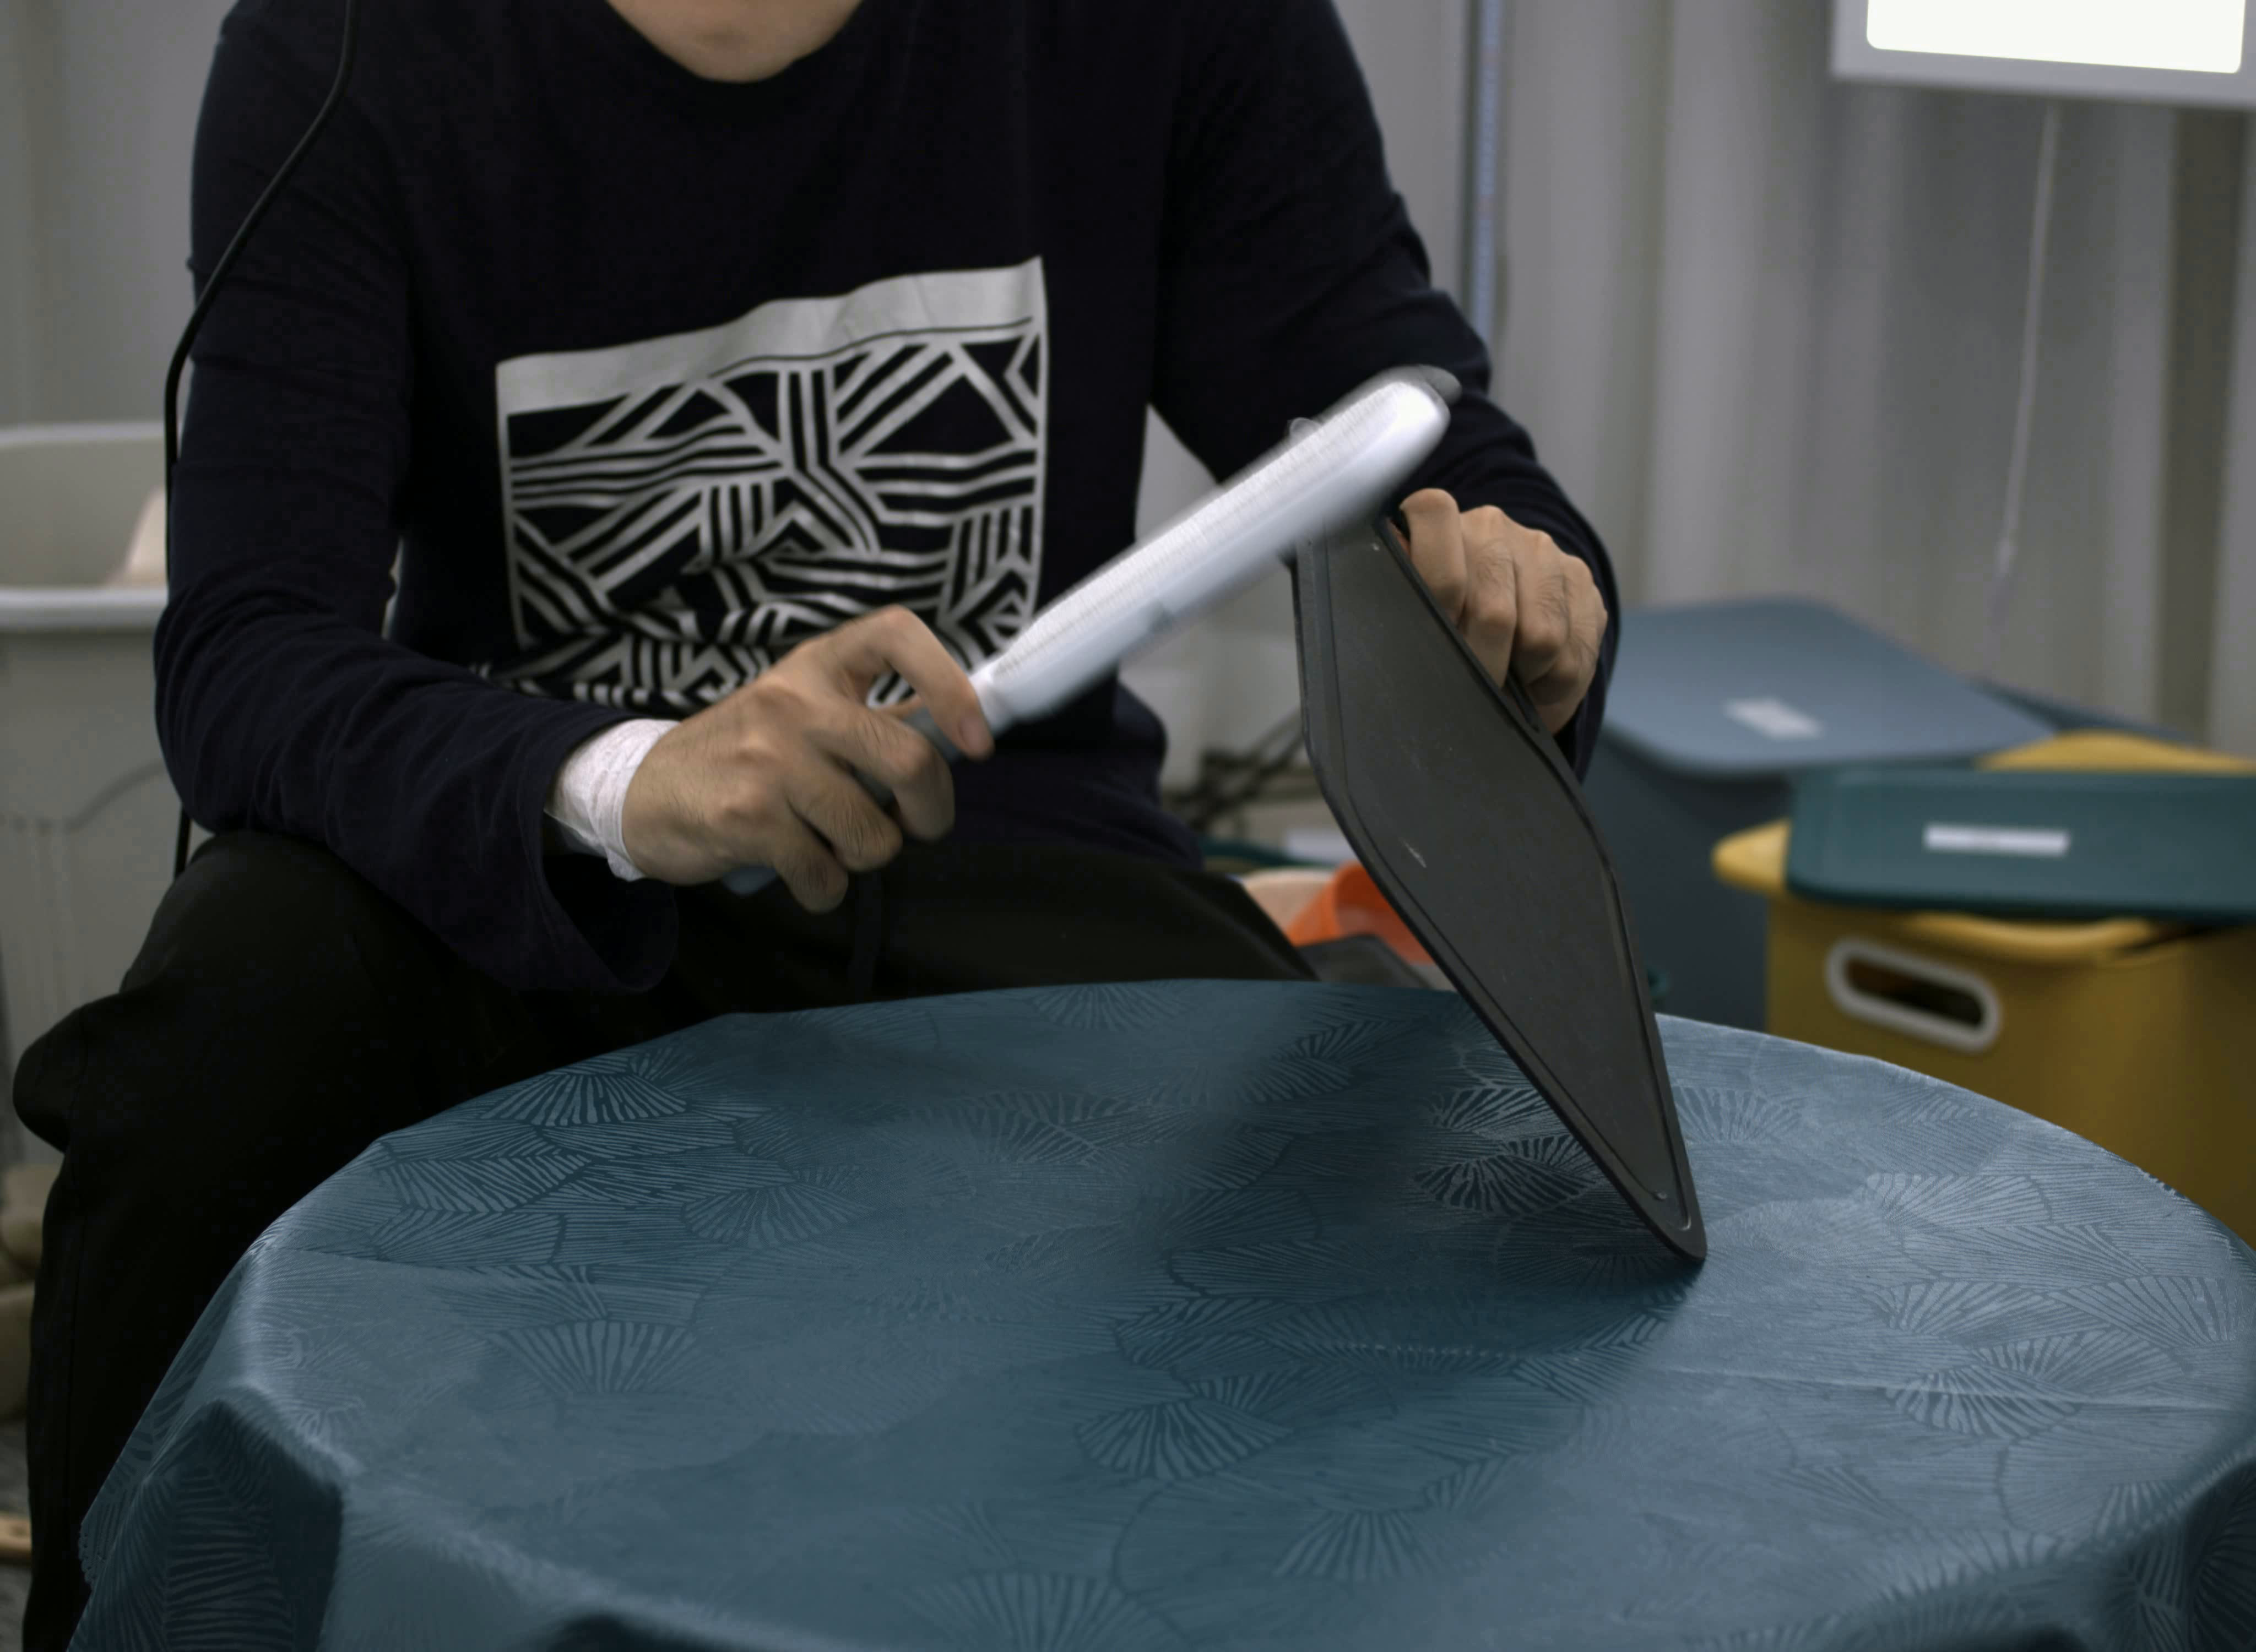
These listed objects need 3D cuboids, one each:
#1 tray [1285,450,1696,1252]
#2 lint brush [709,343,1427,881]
[{"bbox_3d":[0.111,-0.009,1.649,0.010,0.213,0.323,-32,22,15],"label":"tray"},{"bbox_3d":[-0.024,-0.063,1.656,0.308,0.021,0.060,-34,18,30],"label":"lint brush"}]
